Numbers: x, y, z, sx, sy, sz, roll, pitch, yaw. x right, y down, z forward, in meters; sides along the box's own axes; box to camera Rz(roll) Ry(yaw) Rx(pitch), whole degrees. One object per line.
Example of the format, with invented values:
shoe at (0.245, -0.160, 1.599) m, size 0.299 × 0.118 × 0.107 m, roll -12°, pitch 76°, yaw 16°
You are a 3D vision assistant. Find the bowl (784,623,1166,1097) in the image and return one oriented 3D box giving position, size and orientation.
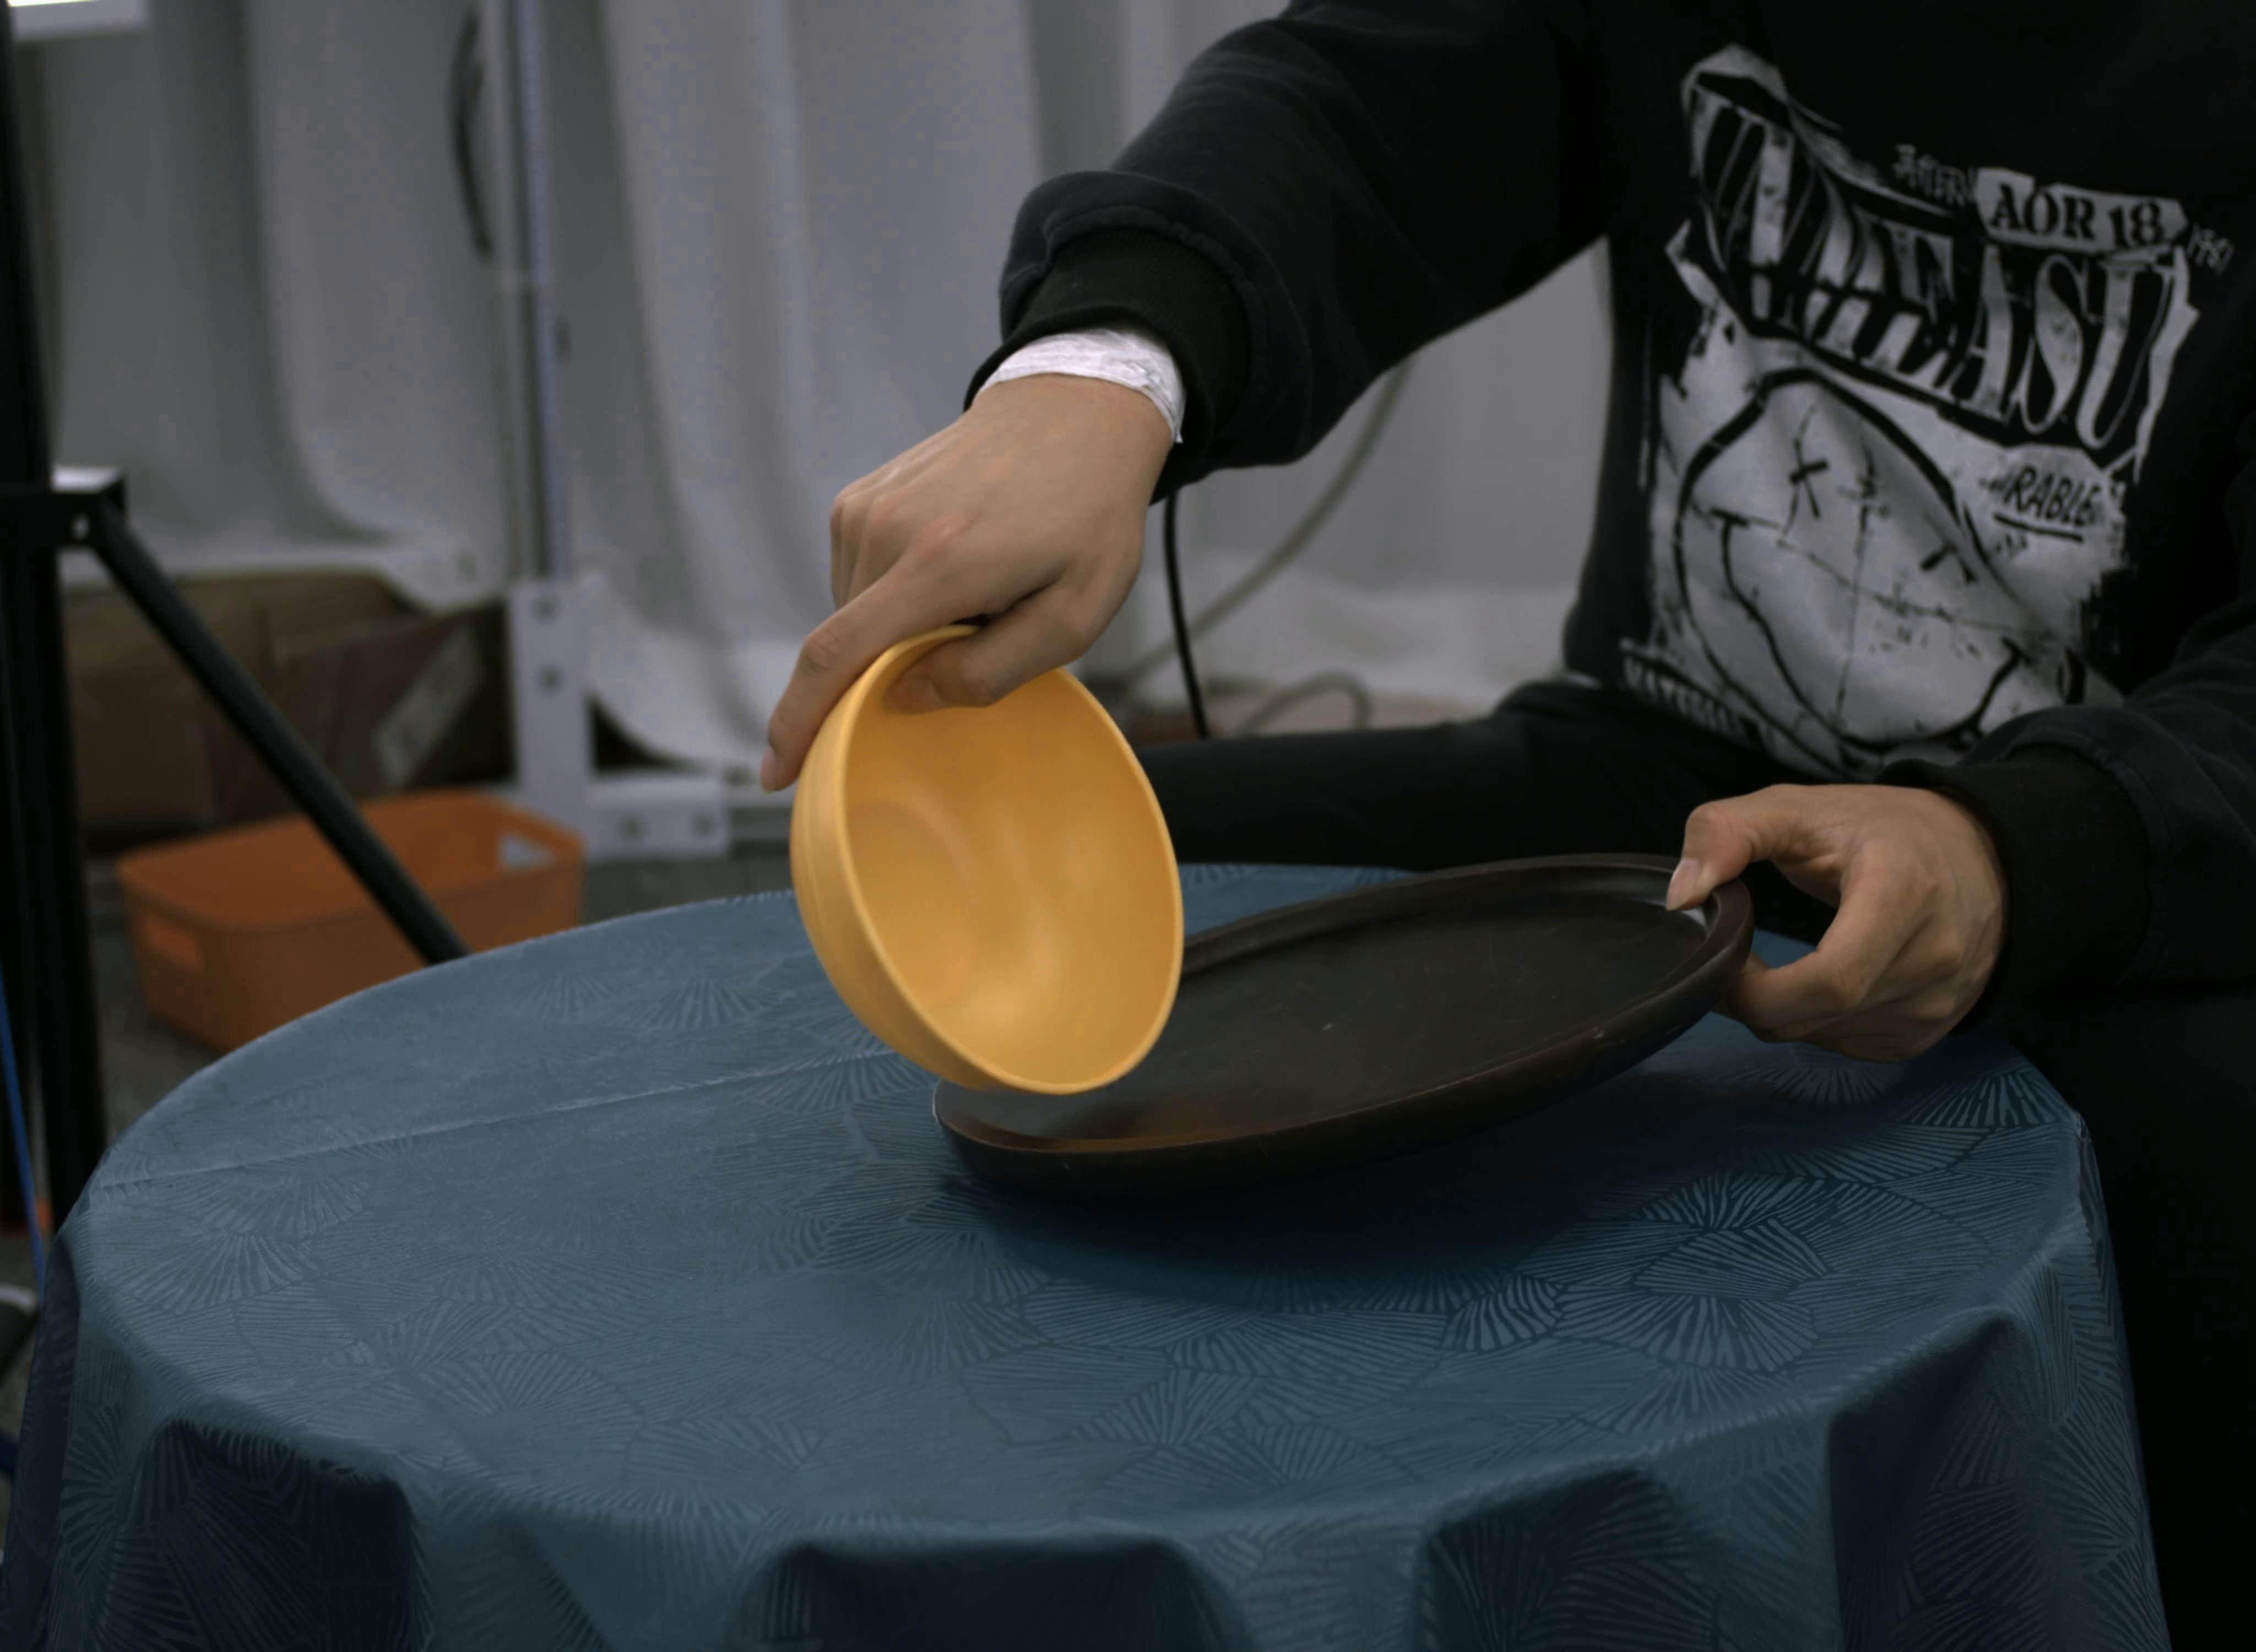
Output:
bowl at (-0.056, 0.017, 1.577) m, size 0.061 × 0.146 × 0.142 m, roll -22°, pitch 1°, yaw 38°

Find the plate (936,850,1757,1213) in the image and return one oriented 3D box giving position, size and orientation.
plate at (0.066, 0.060, 1.586) m, size 0.254 × 0.029 × 0.256 m, roll -16°, pitch 11°, yaw 2°
